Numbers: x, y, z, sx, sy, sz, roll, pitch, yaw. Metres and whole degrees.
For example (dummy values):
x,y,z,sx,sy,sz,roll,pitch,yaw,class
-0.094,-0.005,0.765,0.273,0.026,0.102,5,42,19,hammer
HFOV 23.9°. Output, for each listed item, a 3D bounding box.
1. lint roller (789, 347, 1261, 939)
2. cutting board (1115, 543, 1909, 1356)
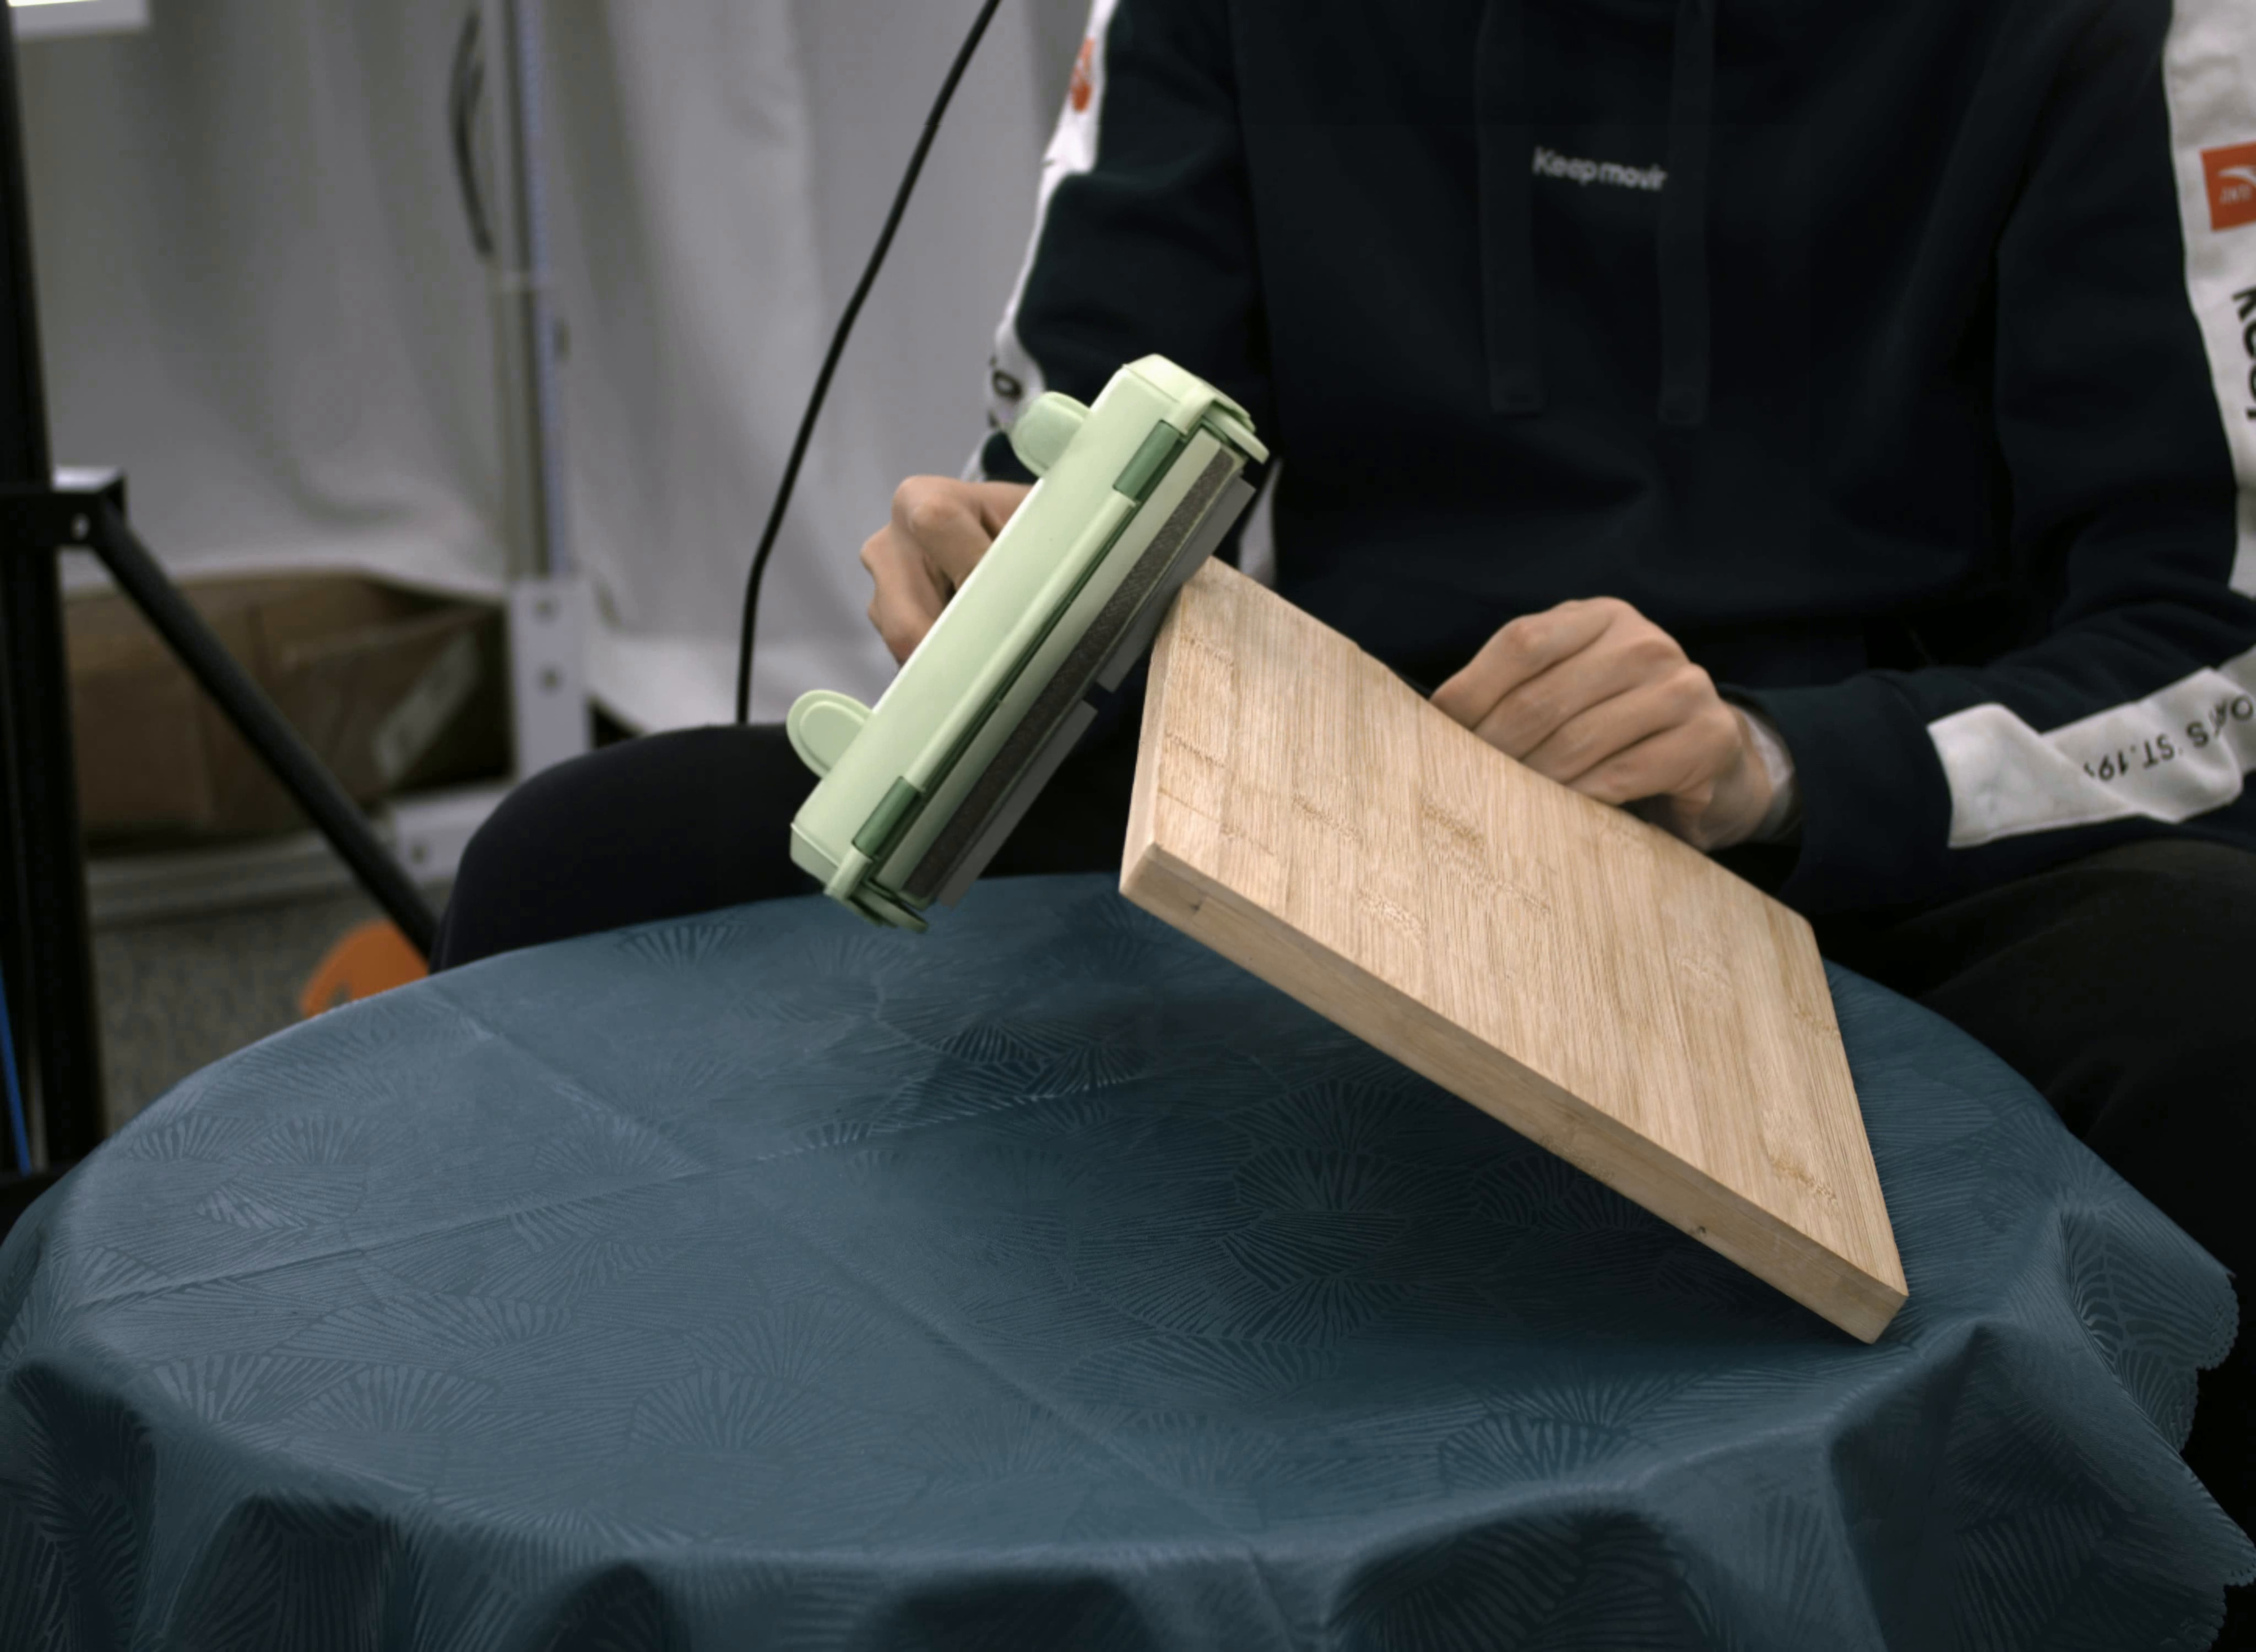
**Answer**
x,y,z,sx,sy,sz,roll,pitch,yaw,class
-0.047,-0.069,1.715,0.081,0.199,0.185,34,2,-13,lint roller
0.110,0.025,1.564,0.249,0.024,0.349,31,15,-7,cutting board
